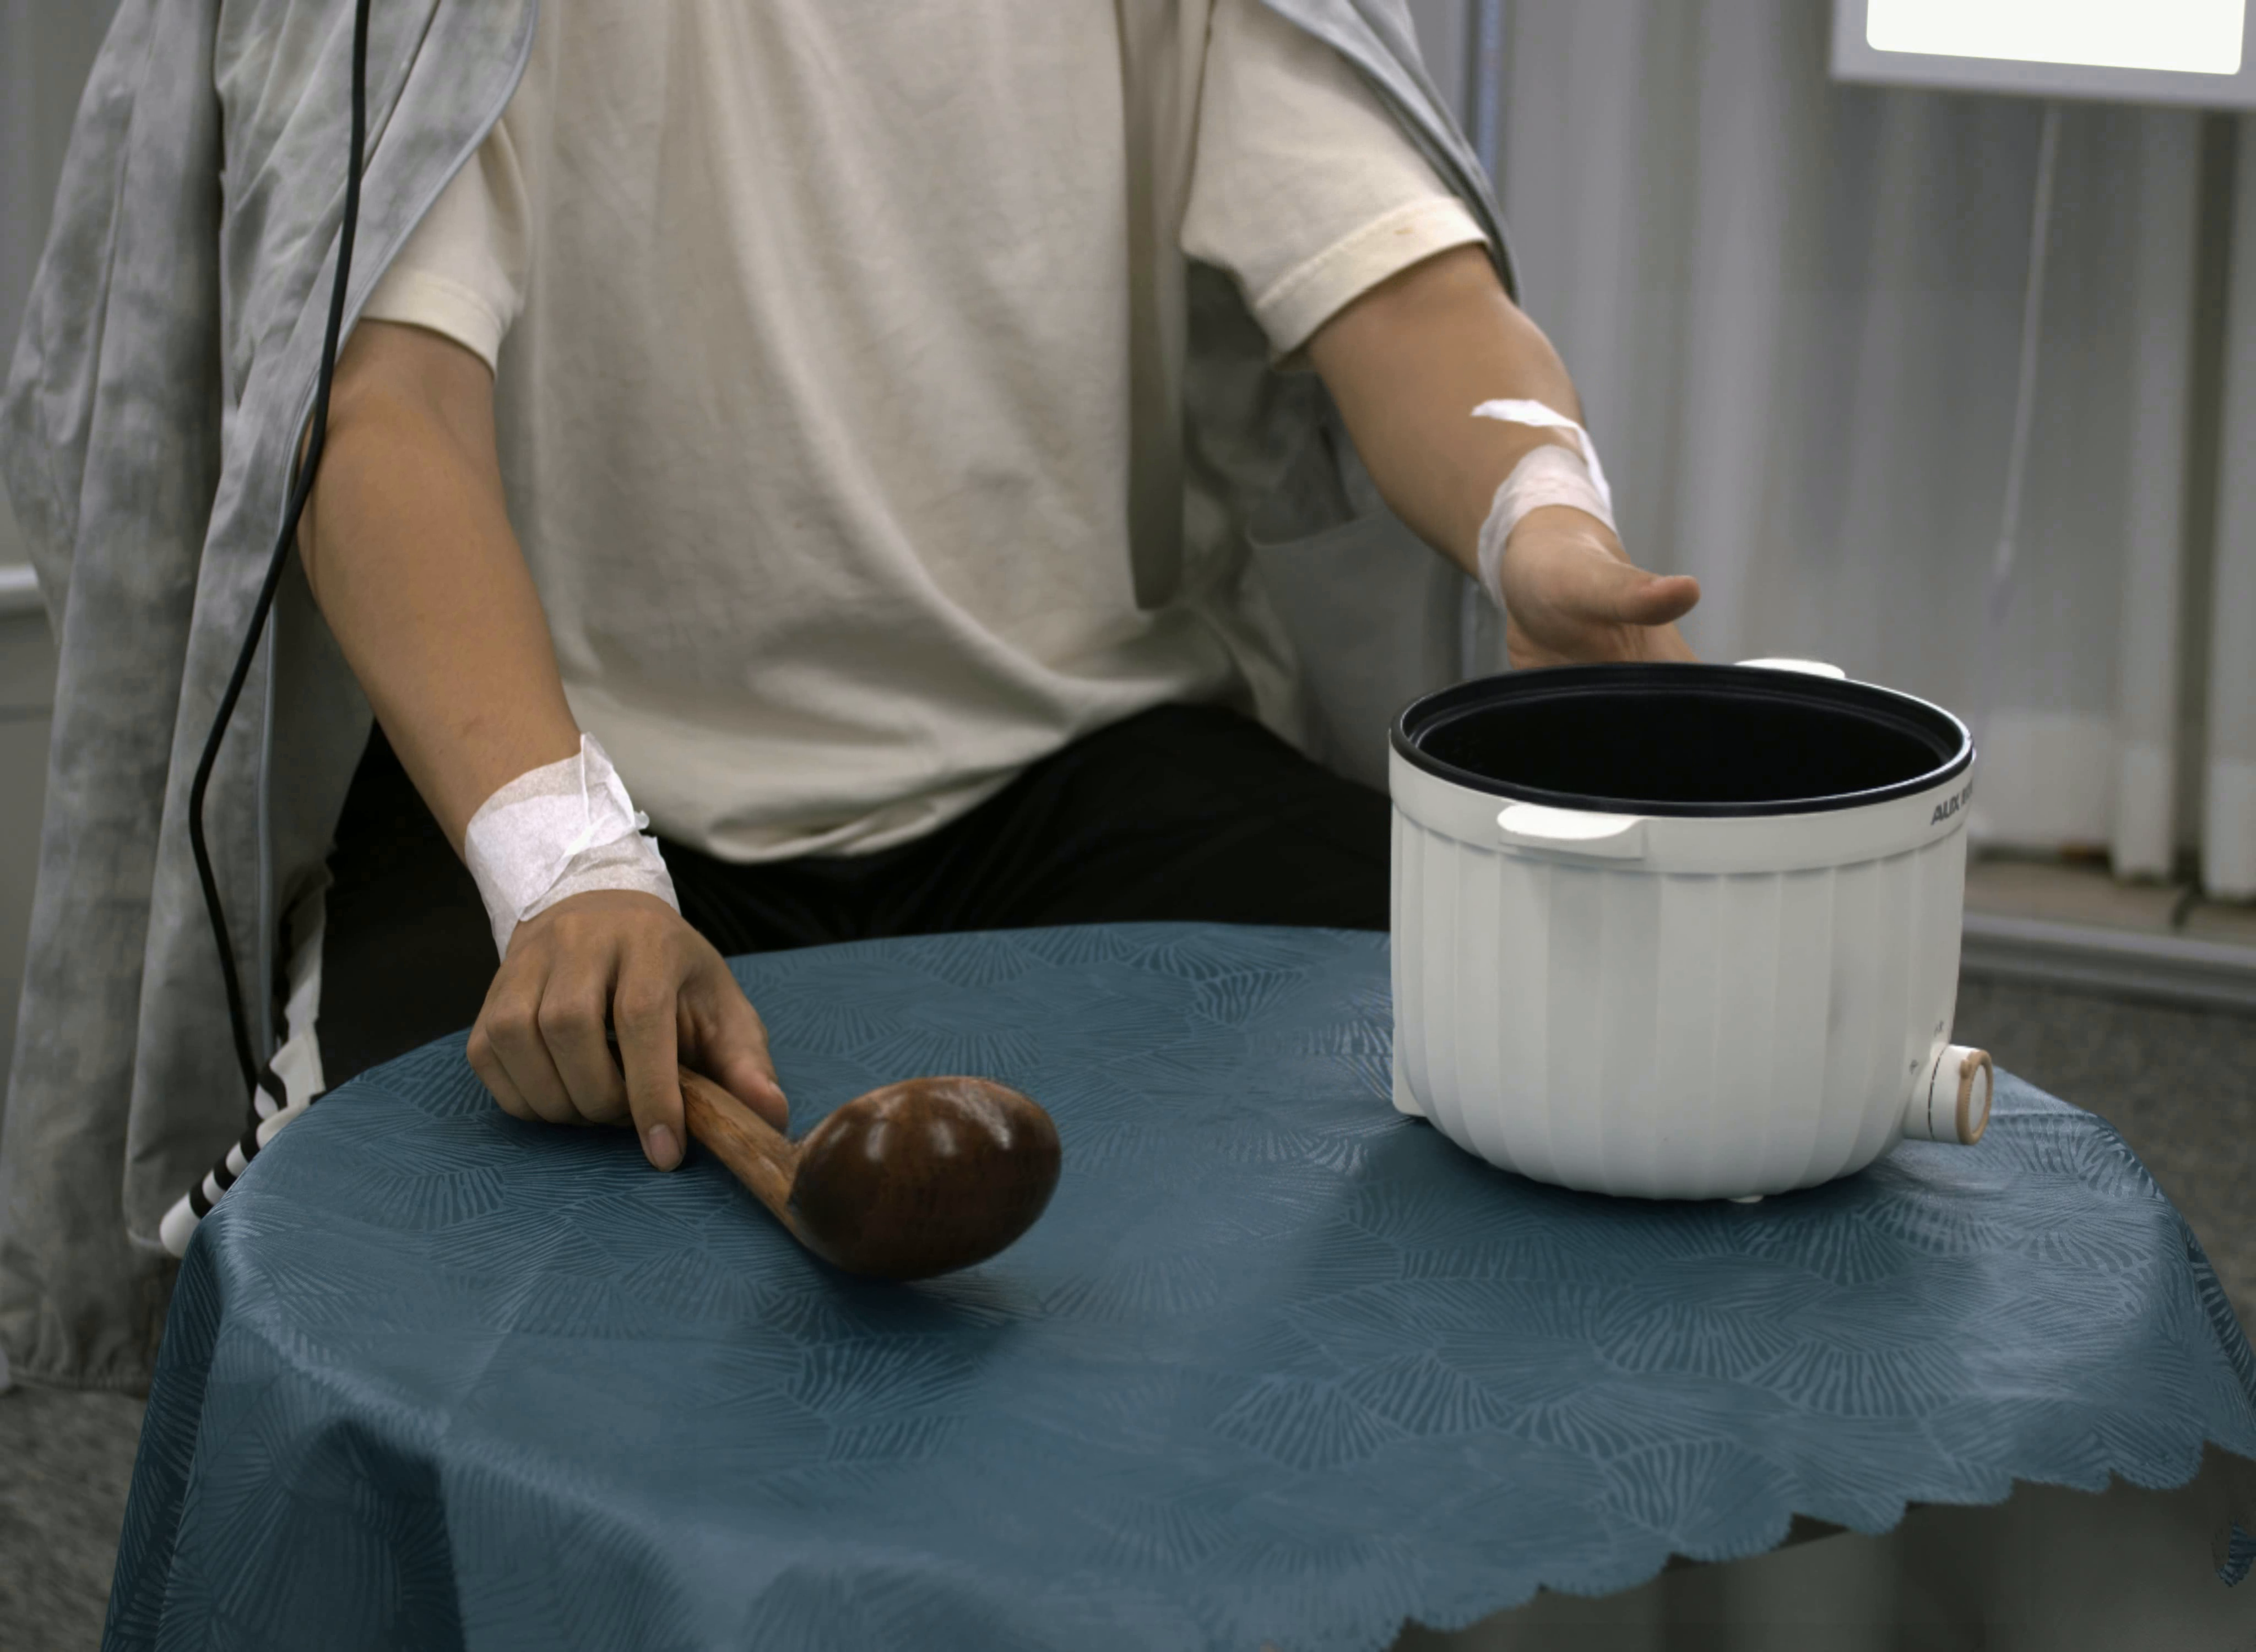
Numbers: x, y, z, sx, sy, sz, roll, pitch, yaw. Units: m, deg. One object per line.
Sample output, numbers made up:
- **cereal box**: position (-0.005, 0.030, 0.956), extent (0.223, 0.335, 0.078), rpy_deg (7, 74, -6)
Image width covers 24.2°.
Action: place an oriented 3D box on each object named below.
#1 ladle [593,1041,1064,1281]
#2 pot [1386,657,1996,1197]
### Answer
- **ladle**: position (-0.104, 0.077, 1.606), extent (0.082, 0.077, 0.271), rpy_deg (17, 6, -28)
- **pot**: position (0.177, 0.034, 1.655), extent (0.188, 0.144, 0.241), rpy_deg (3, 17, 25)
